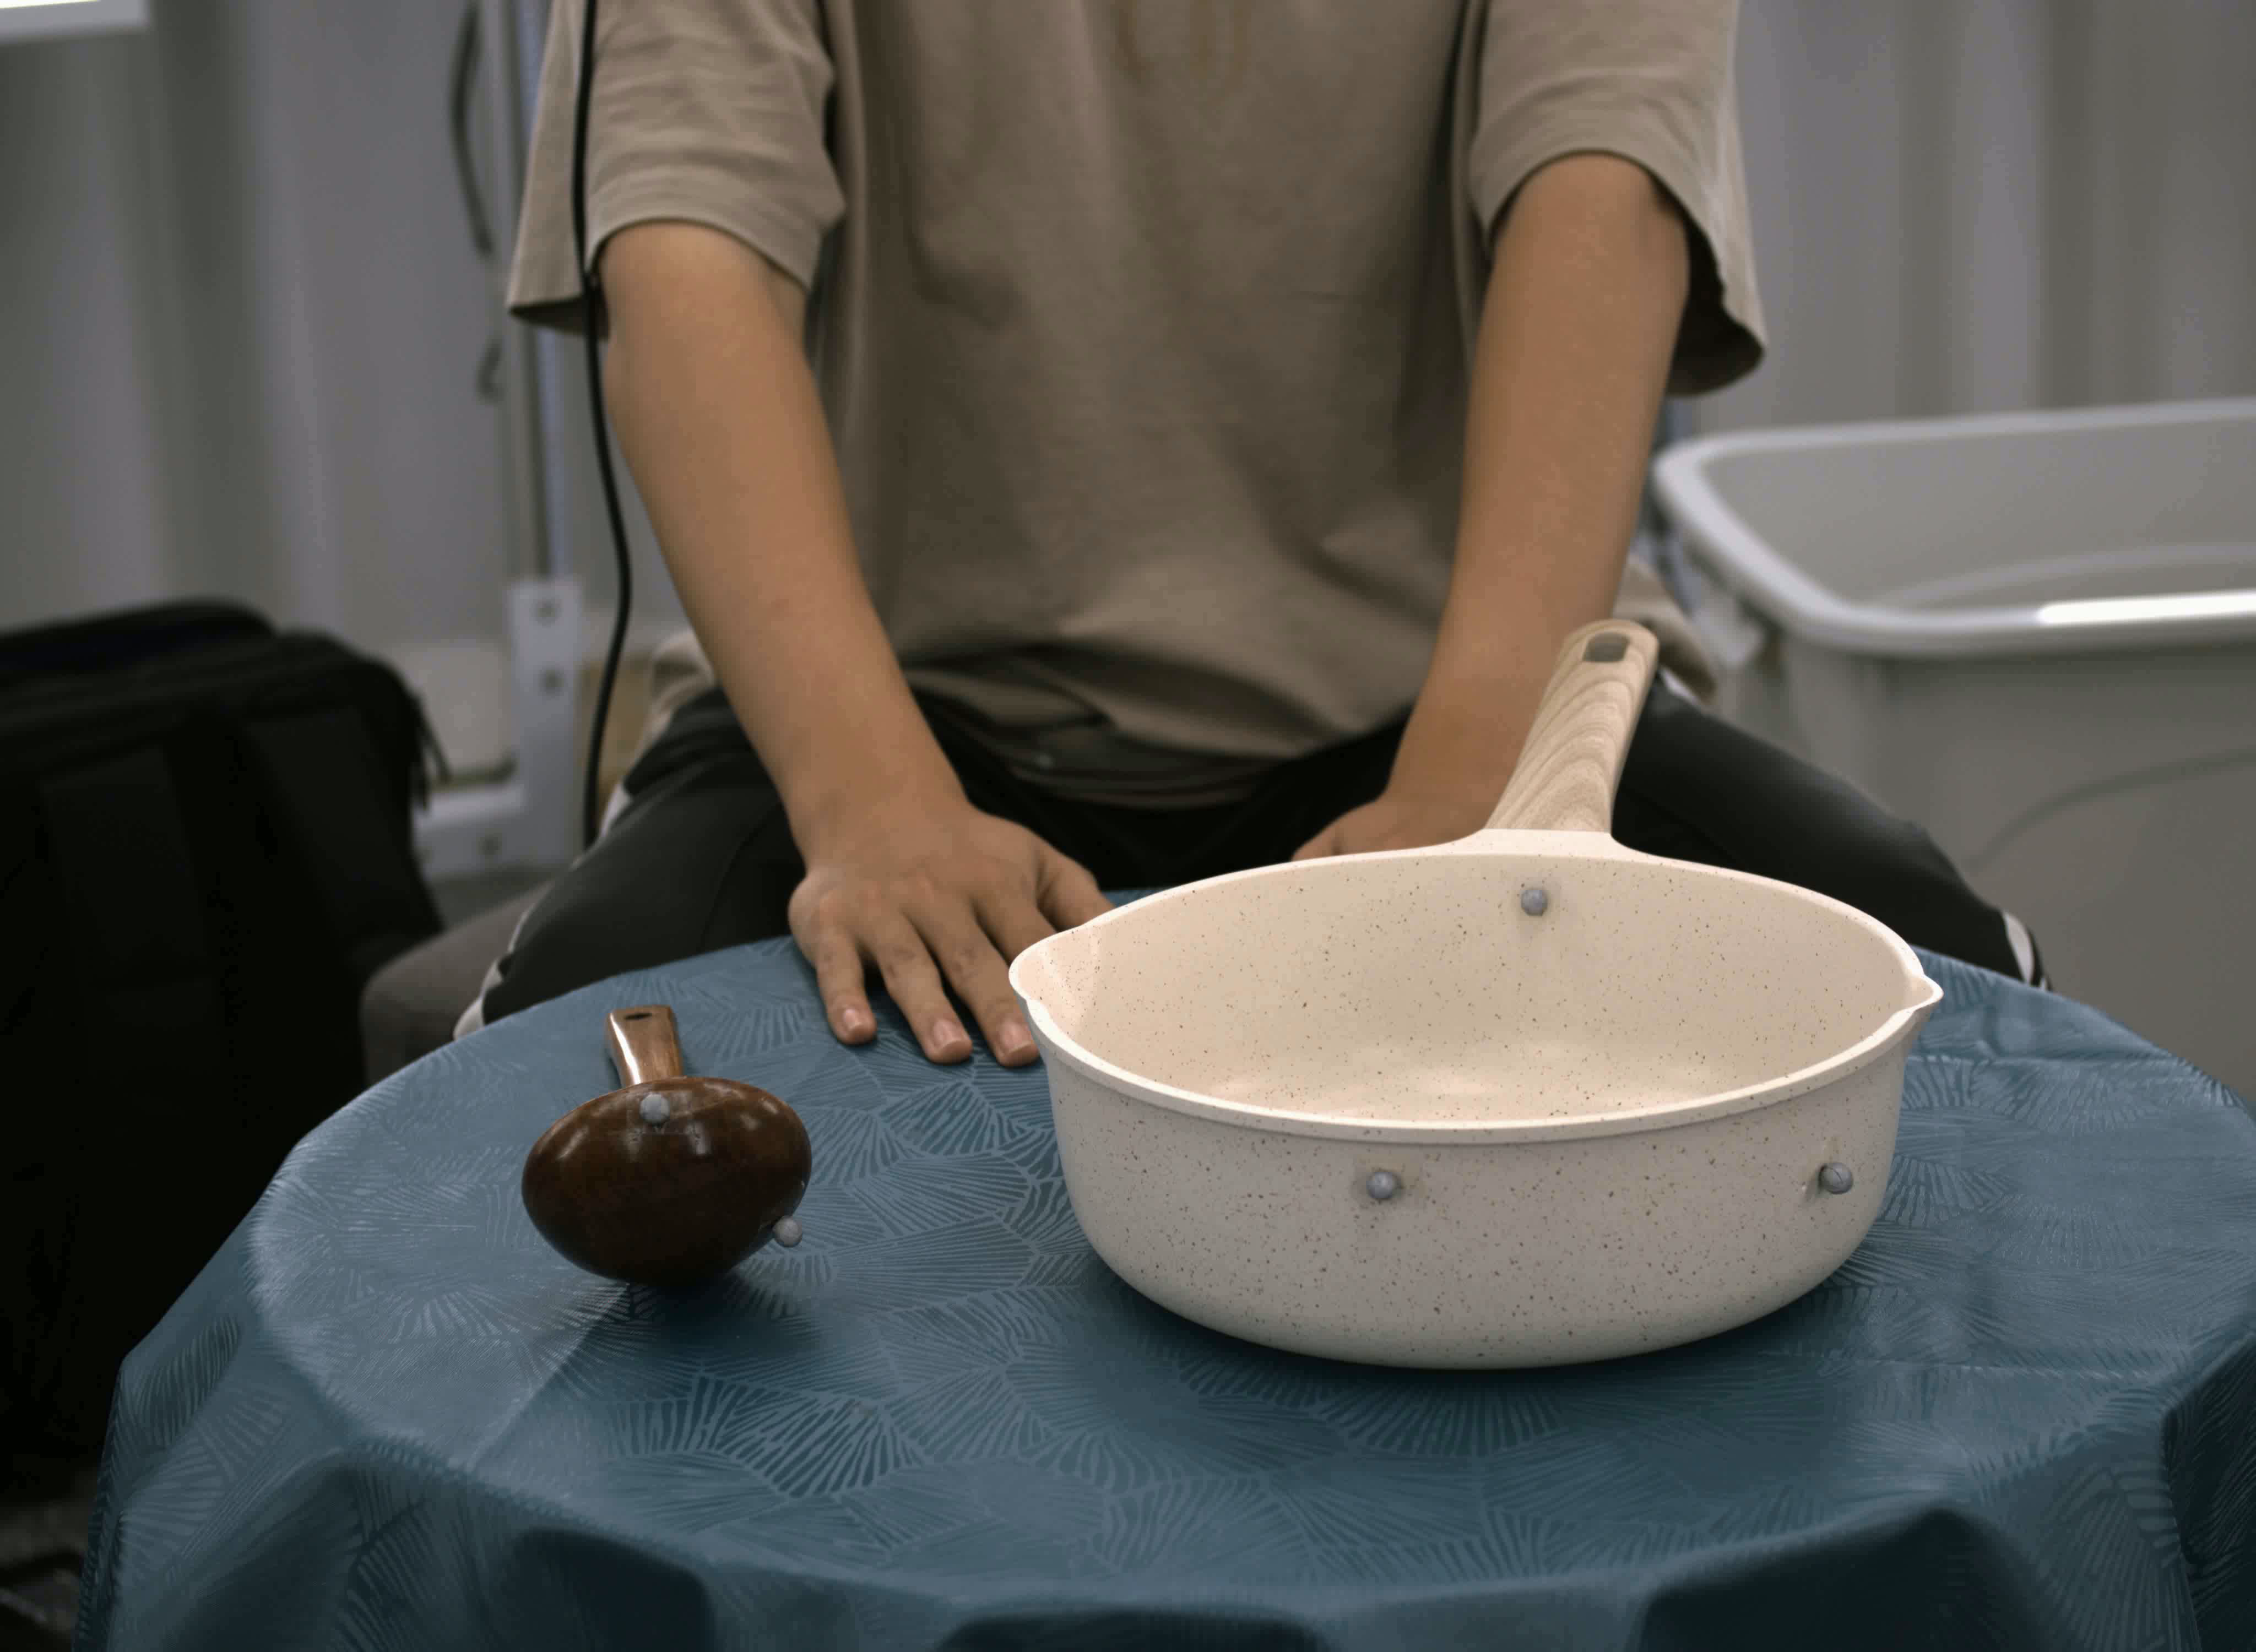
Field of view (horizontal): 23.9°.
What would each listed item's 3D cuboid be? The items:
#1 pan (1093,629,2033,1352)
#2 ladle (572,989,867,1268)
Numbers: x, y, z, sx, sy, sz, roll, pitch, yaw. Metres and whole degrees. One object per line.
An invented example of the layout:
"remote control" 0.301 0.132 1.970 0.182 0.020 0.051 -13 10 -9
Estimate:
"pan" 0.140 0.044 1.569 0.265 0.102 0.432 0 16 13
"ladle" -0.122 0.065 1.569 0.081 0.076 0.276 -4 17 -4
